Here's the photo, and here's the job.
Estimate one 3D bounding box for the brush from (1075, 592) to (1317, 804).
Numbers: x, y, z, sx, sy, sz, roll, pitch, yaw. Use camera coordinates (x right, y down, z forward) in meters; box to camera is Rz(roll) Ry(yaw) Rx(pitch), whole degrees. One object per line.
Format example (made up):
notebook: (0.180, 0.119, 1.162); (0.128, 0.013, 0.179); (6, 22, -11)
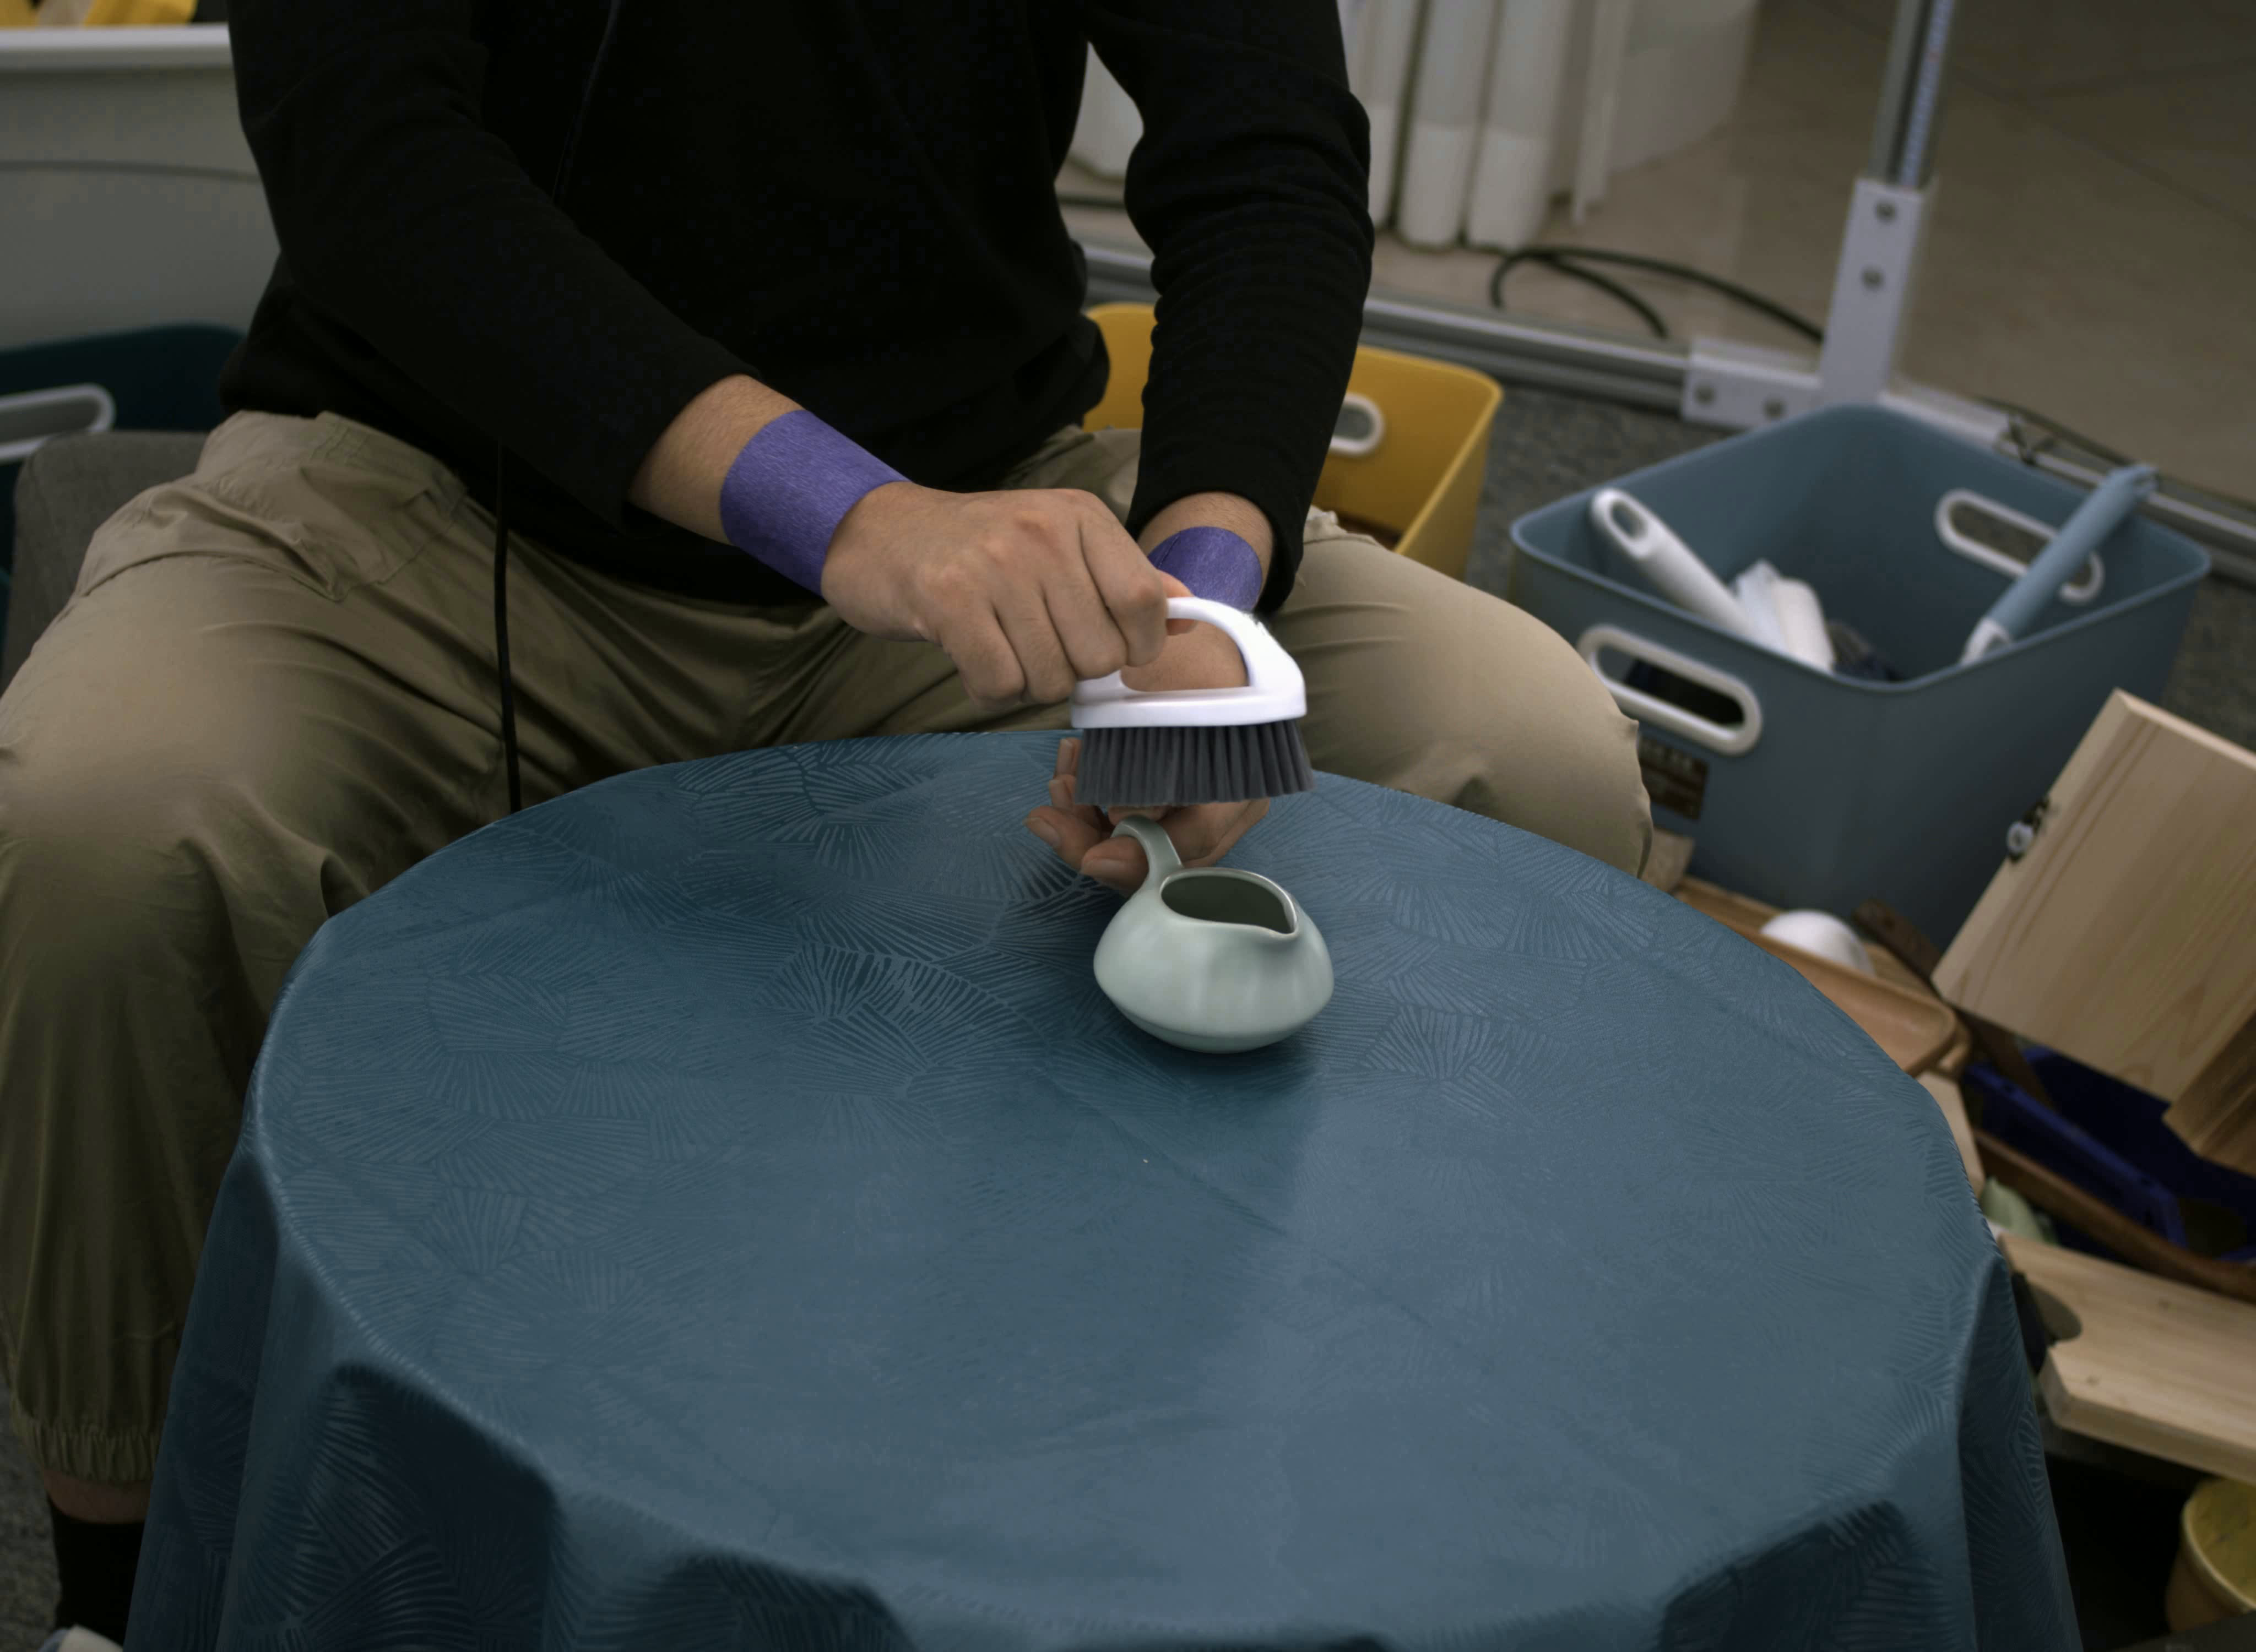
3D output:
brush: (0.021, -0.047, 1.903); (0.050, 0.072, 0.100); (-11, 8, -42)

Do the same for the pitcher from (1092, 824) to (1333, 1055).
pitcher: (0.024, 0.042, 1.907); (0.085, 0.060, 0.109); (-14, 30, -37)
